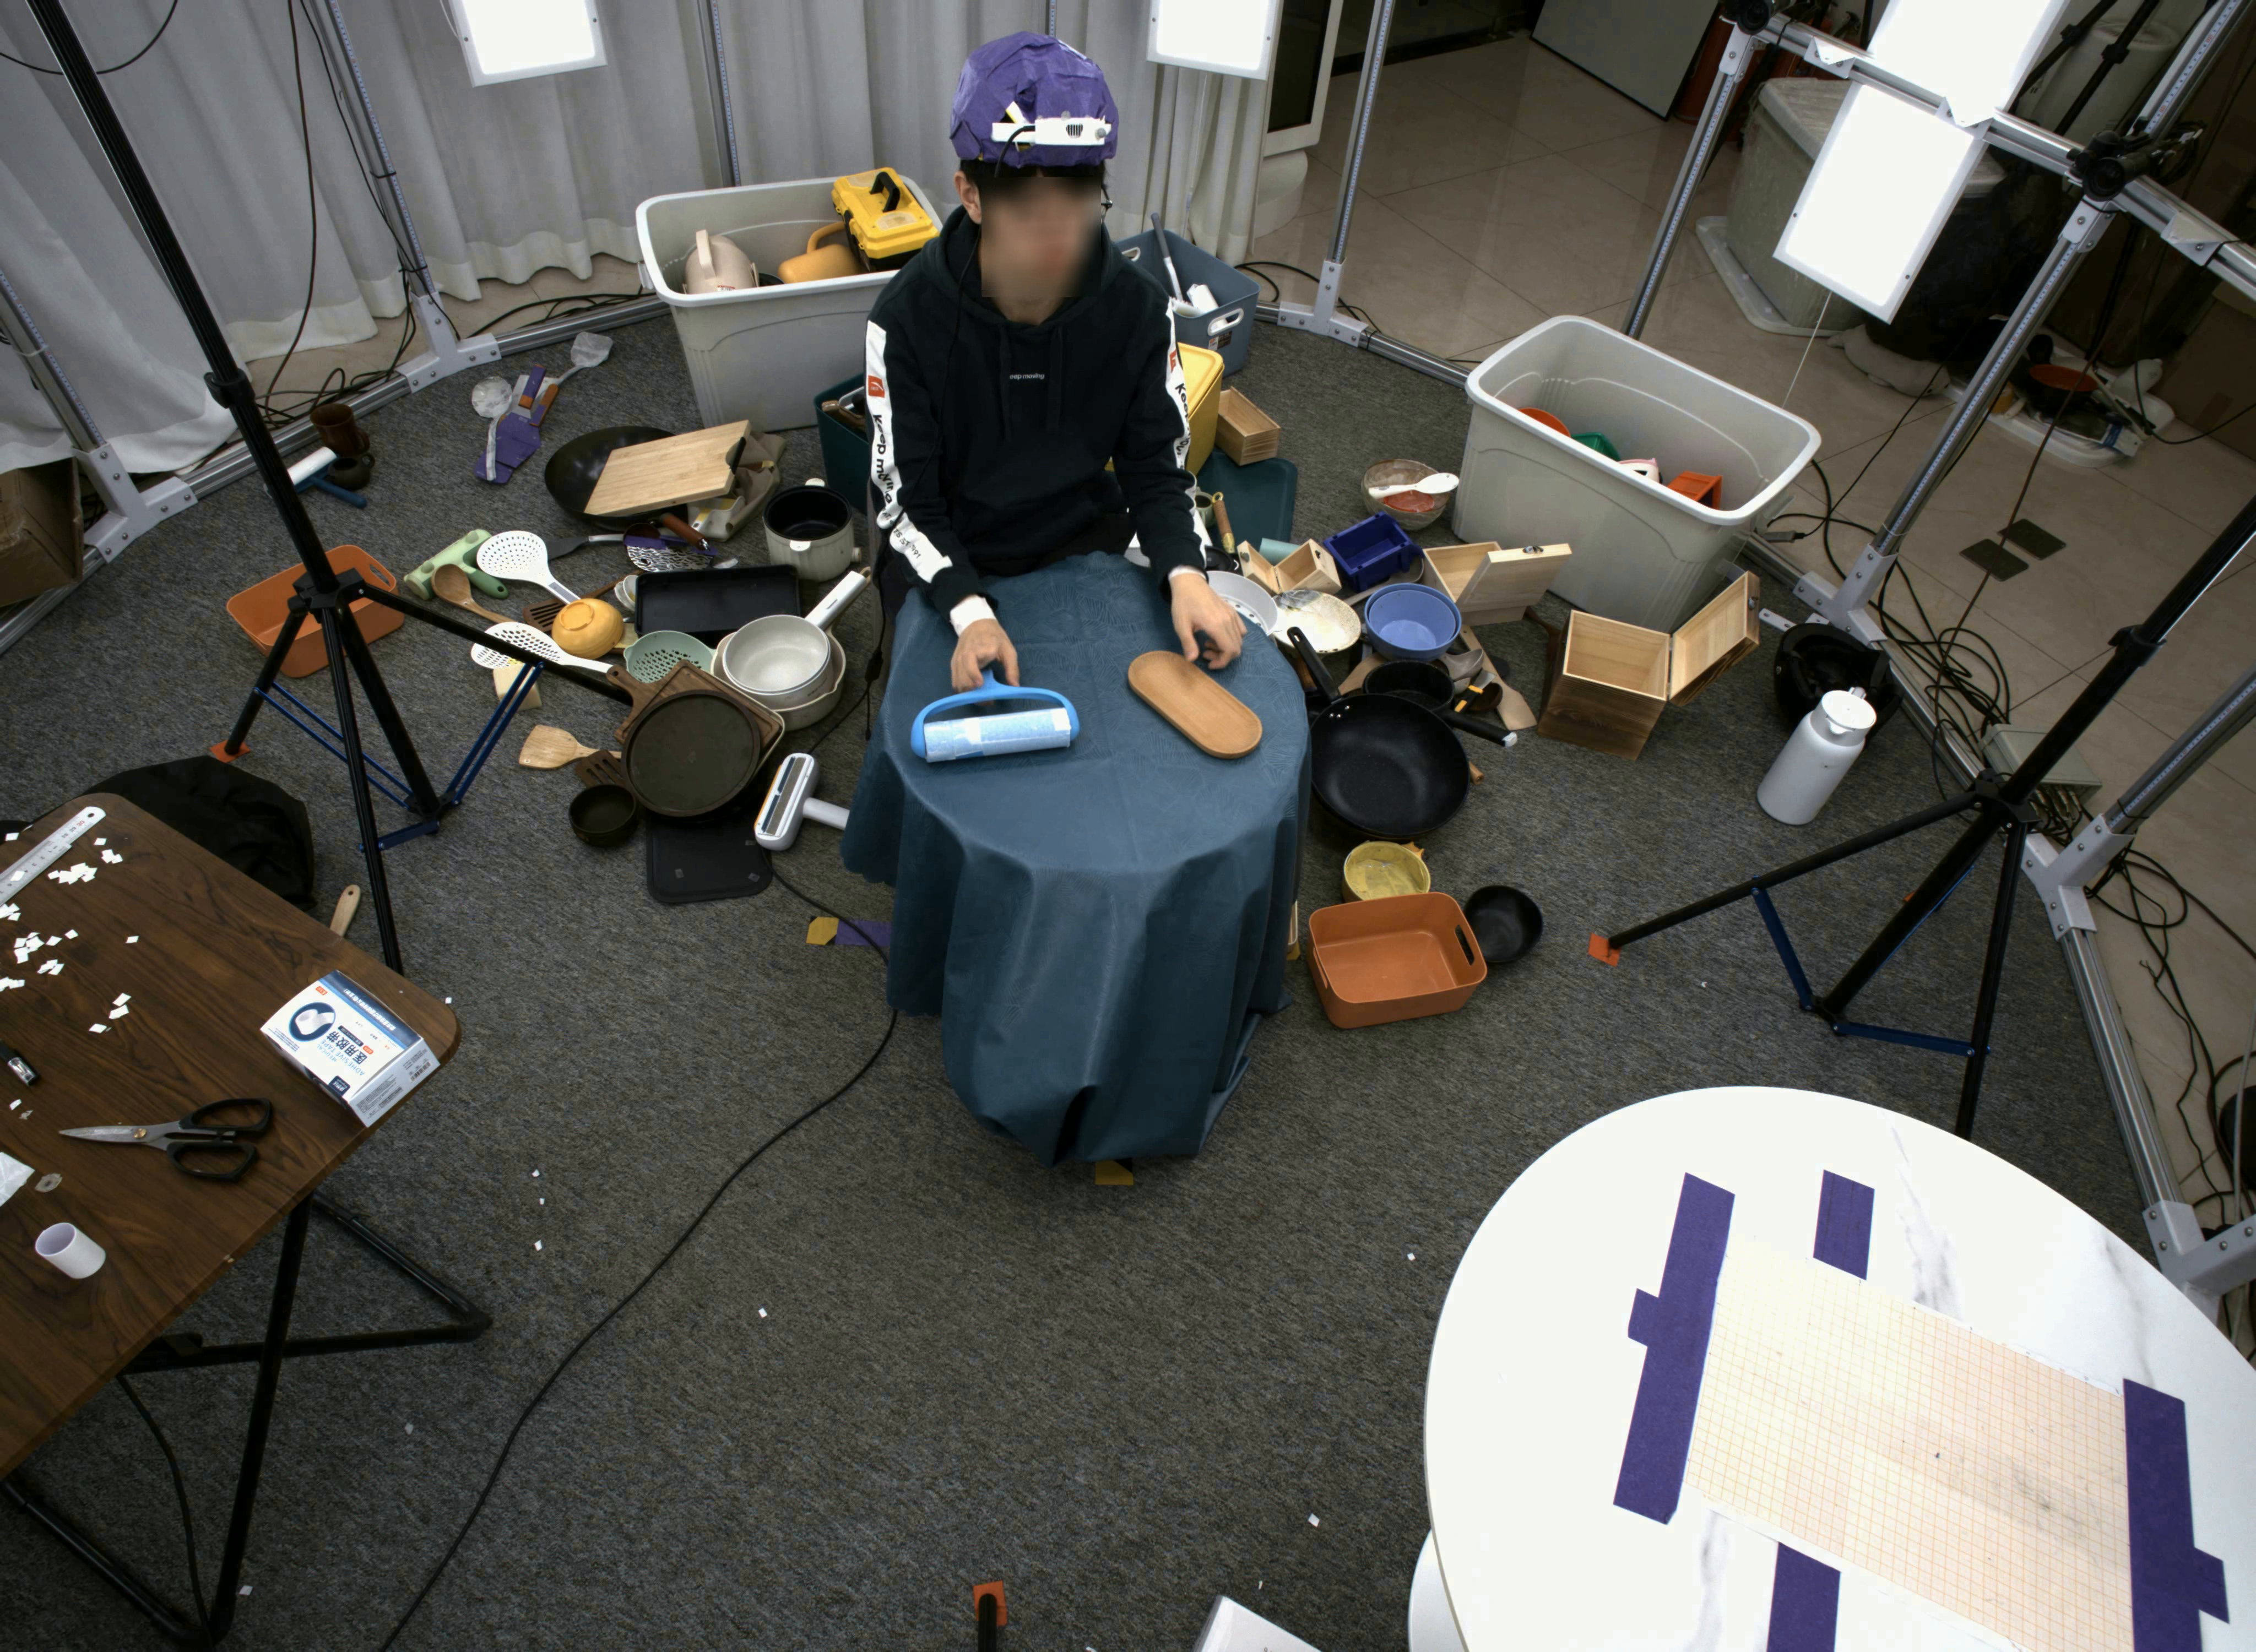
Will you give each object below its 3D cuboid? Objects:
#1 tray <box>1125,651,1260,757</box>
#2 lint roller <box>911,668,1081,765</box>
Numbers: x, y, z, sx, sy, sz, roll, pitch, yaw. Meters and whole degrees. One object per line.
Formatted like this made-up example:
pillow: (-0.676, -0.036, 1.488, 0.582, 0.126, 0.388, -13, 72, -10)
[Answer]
tray: (0.090, -0.174, 1.815, 0.102, 0.020, 0.235, -32, 56, -28)
lint roller: (-0.191, -0.168, 1.764, 0.229, 0.066, 0.185, -11, 52, -10)
